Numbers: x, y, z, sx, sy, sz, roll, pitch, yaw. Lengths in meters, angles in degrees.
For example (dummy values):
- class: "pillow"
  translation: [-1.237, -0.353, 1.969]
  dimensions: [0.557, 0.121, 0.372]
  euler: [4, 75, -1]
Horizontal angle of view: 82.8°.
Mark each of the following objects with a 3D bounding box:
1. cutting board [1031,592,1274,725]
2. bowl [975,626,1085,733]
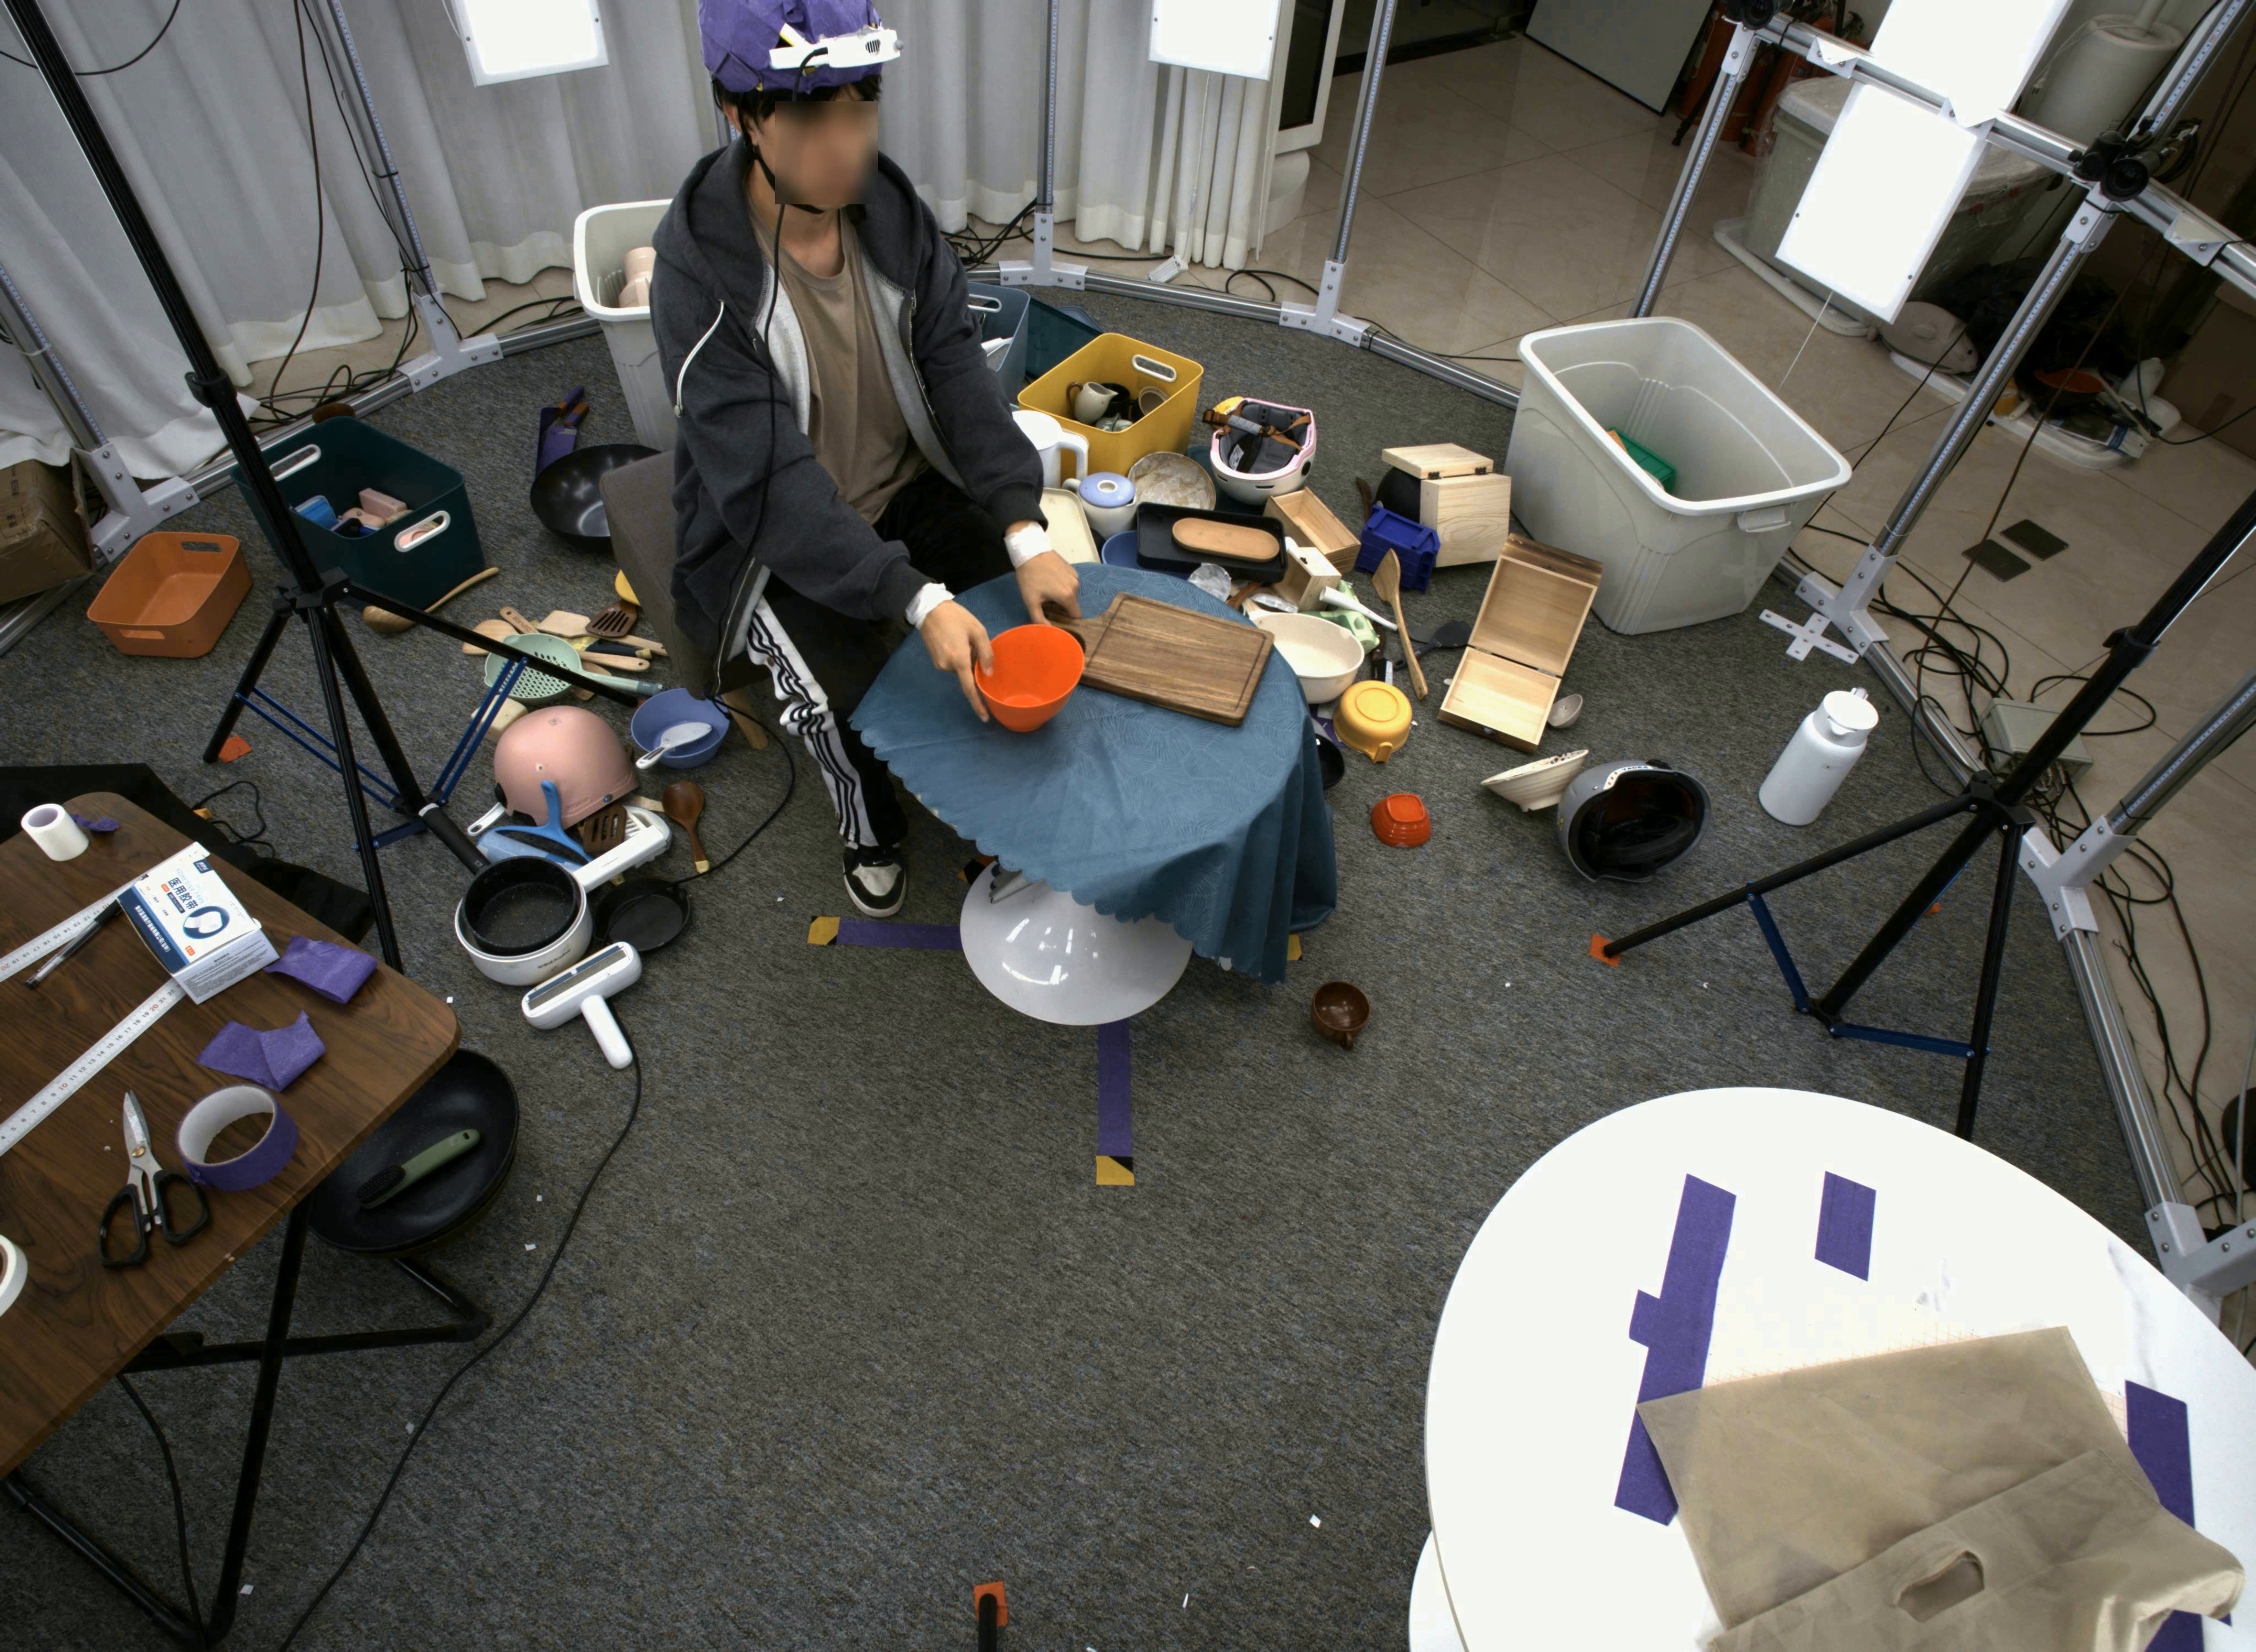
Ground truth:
- class: "cutting board"
  translation: [0.025, -0.262, 1.882]
  dimensions: [0.353, 0.022, 0.205]
  euler: [16, 50, 10]
- class: "bowl"
  translation: [-0.134, -0.189, 1.757]
  dimensions: [0.148, 0.102, 0.152]
  euler: [2, 49, -3]
